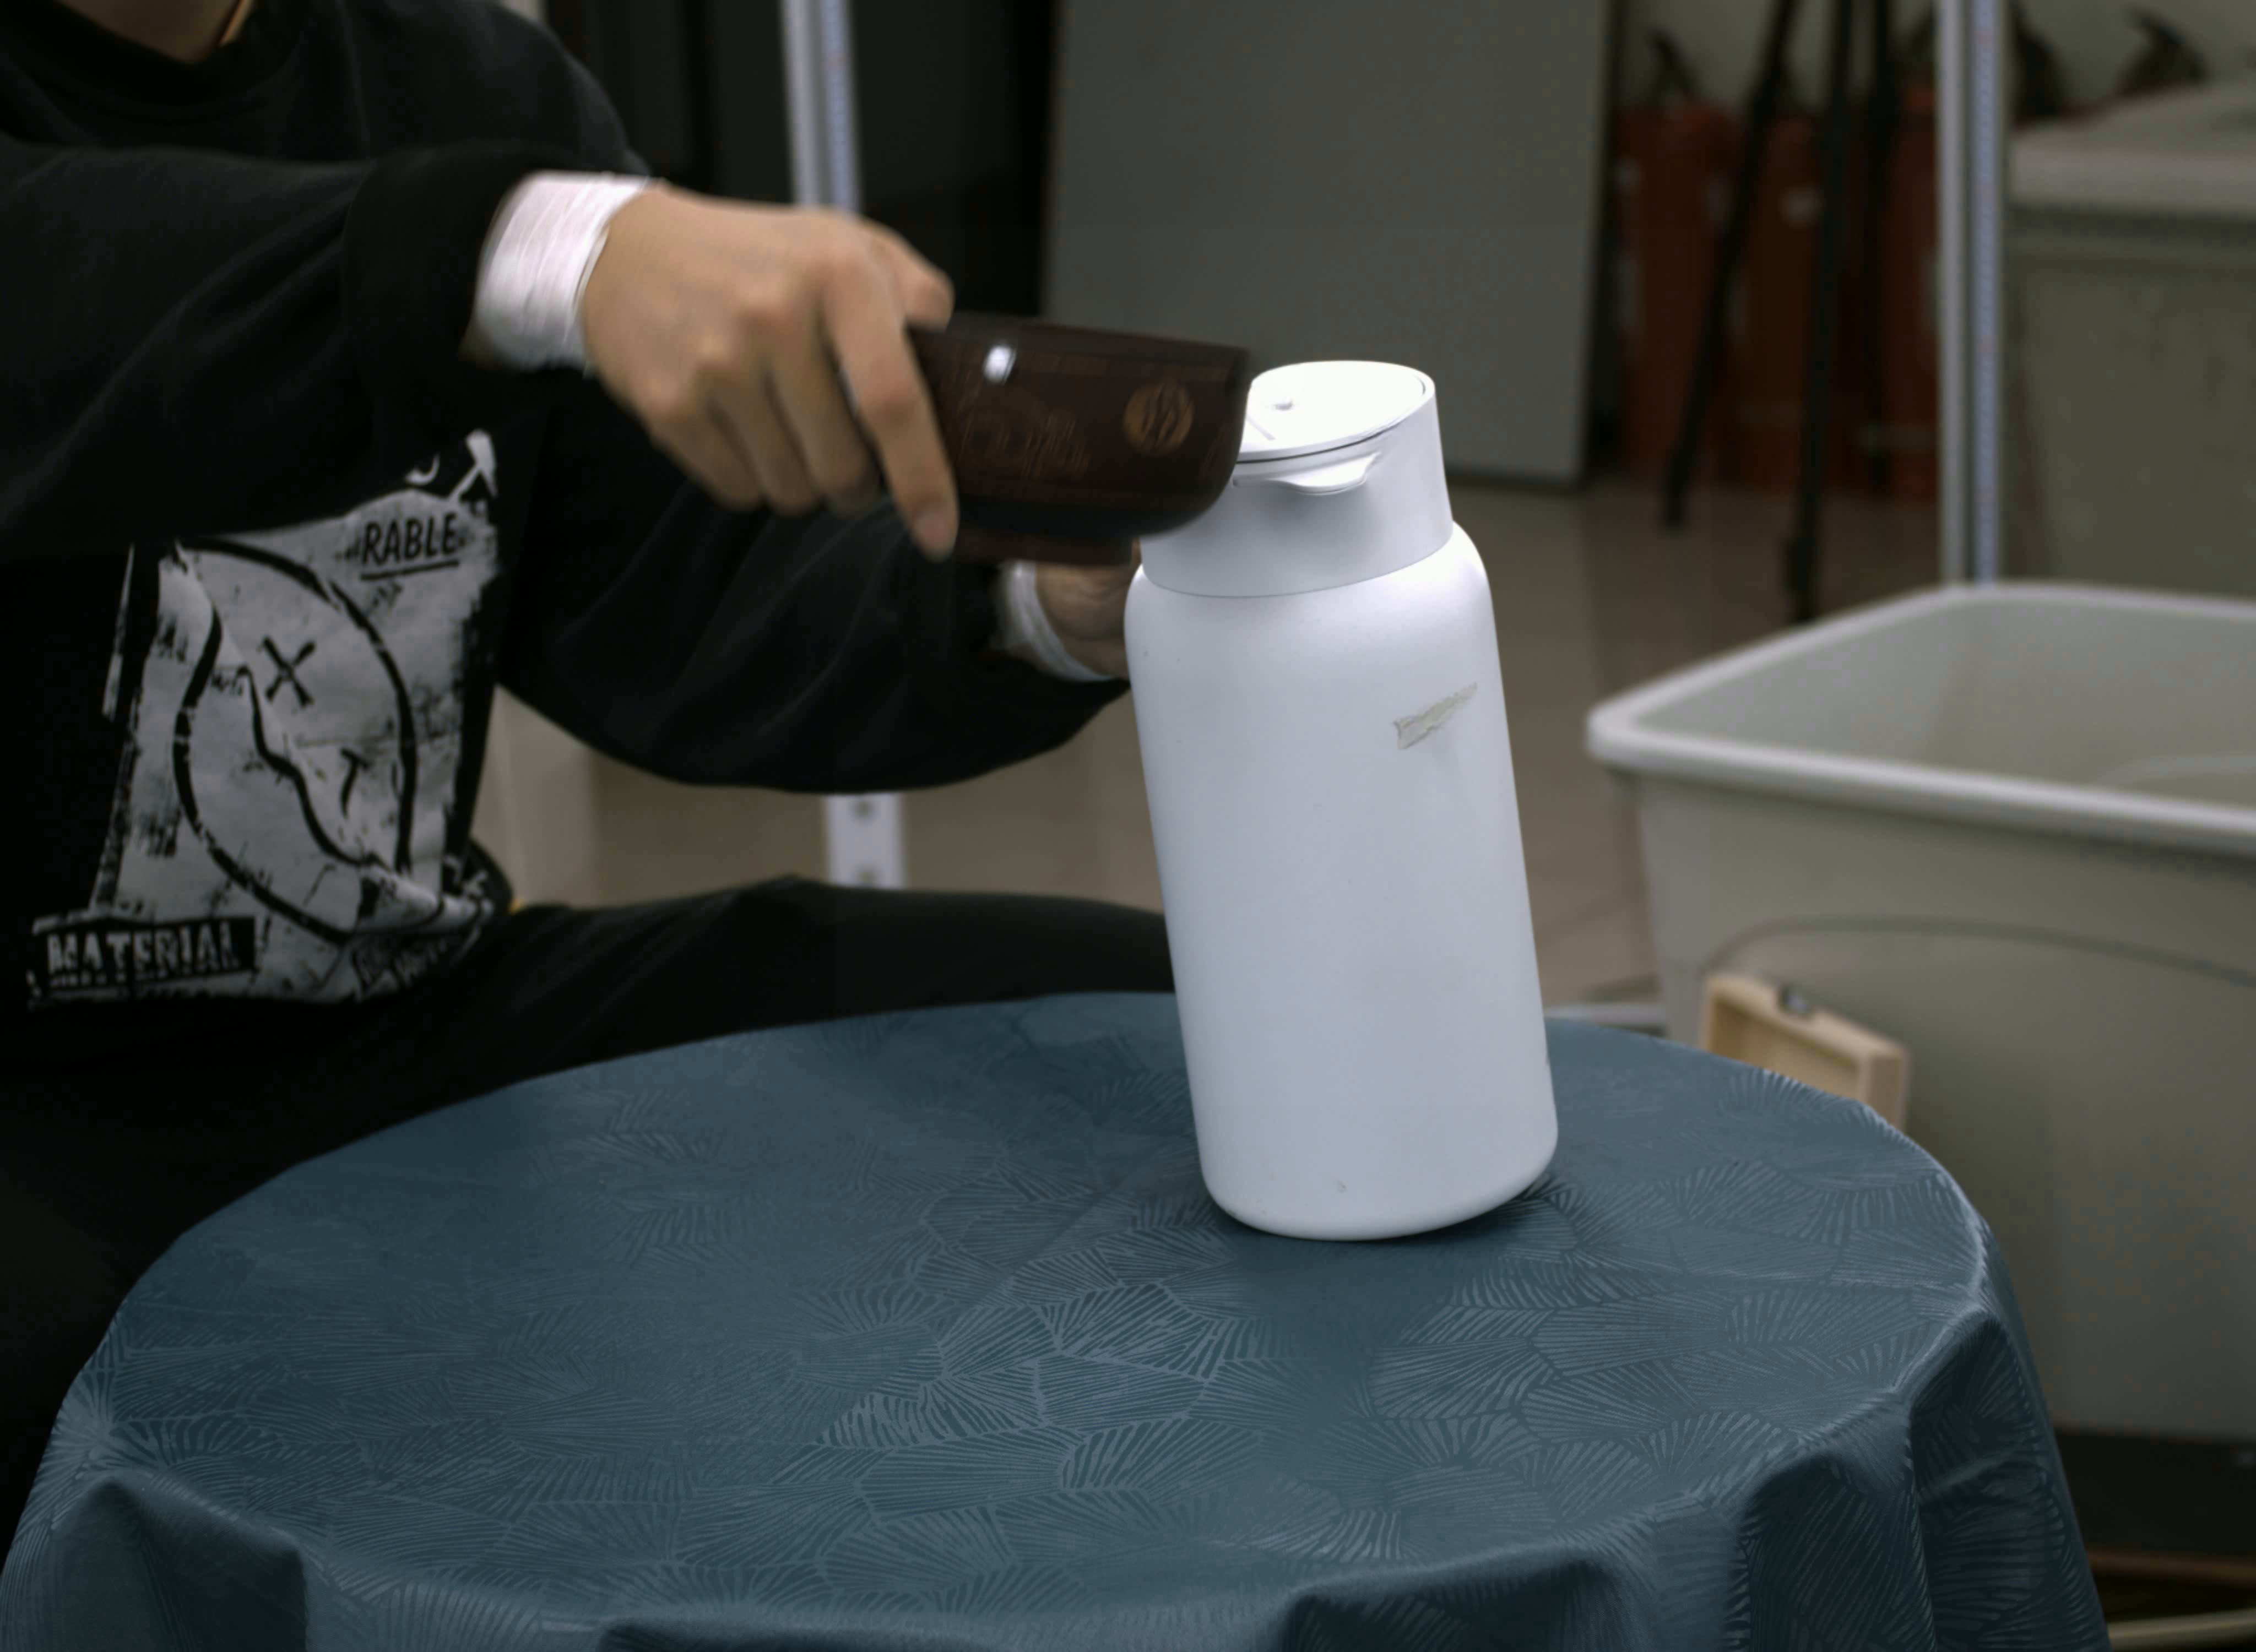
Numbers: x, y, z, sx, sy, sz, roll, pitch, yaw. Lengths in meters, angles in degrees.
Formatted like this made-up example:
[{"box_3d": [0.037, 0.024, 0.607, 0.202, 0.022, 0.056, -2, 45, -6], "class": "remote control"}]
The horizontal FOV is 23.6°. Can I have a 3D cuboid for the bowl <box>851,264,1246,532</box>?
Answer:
[{"box_3d": [-0.025, -0.124, 1.592, 0.116, 0.071, 0.118, 6, 6, -1], "class": "bowl"}]

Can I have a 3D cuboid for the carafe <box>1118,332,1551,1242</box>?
[{"box_3d": [0.057, -0.016, 1.726, 0.122, 0.271, 0.174, -14, 19, -10], "class": "carafe"}]
